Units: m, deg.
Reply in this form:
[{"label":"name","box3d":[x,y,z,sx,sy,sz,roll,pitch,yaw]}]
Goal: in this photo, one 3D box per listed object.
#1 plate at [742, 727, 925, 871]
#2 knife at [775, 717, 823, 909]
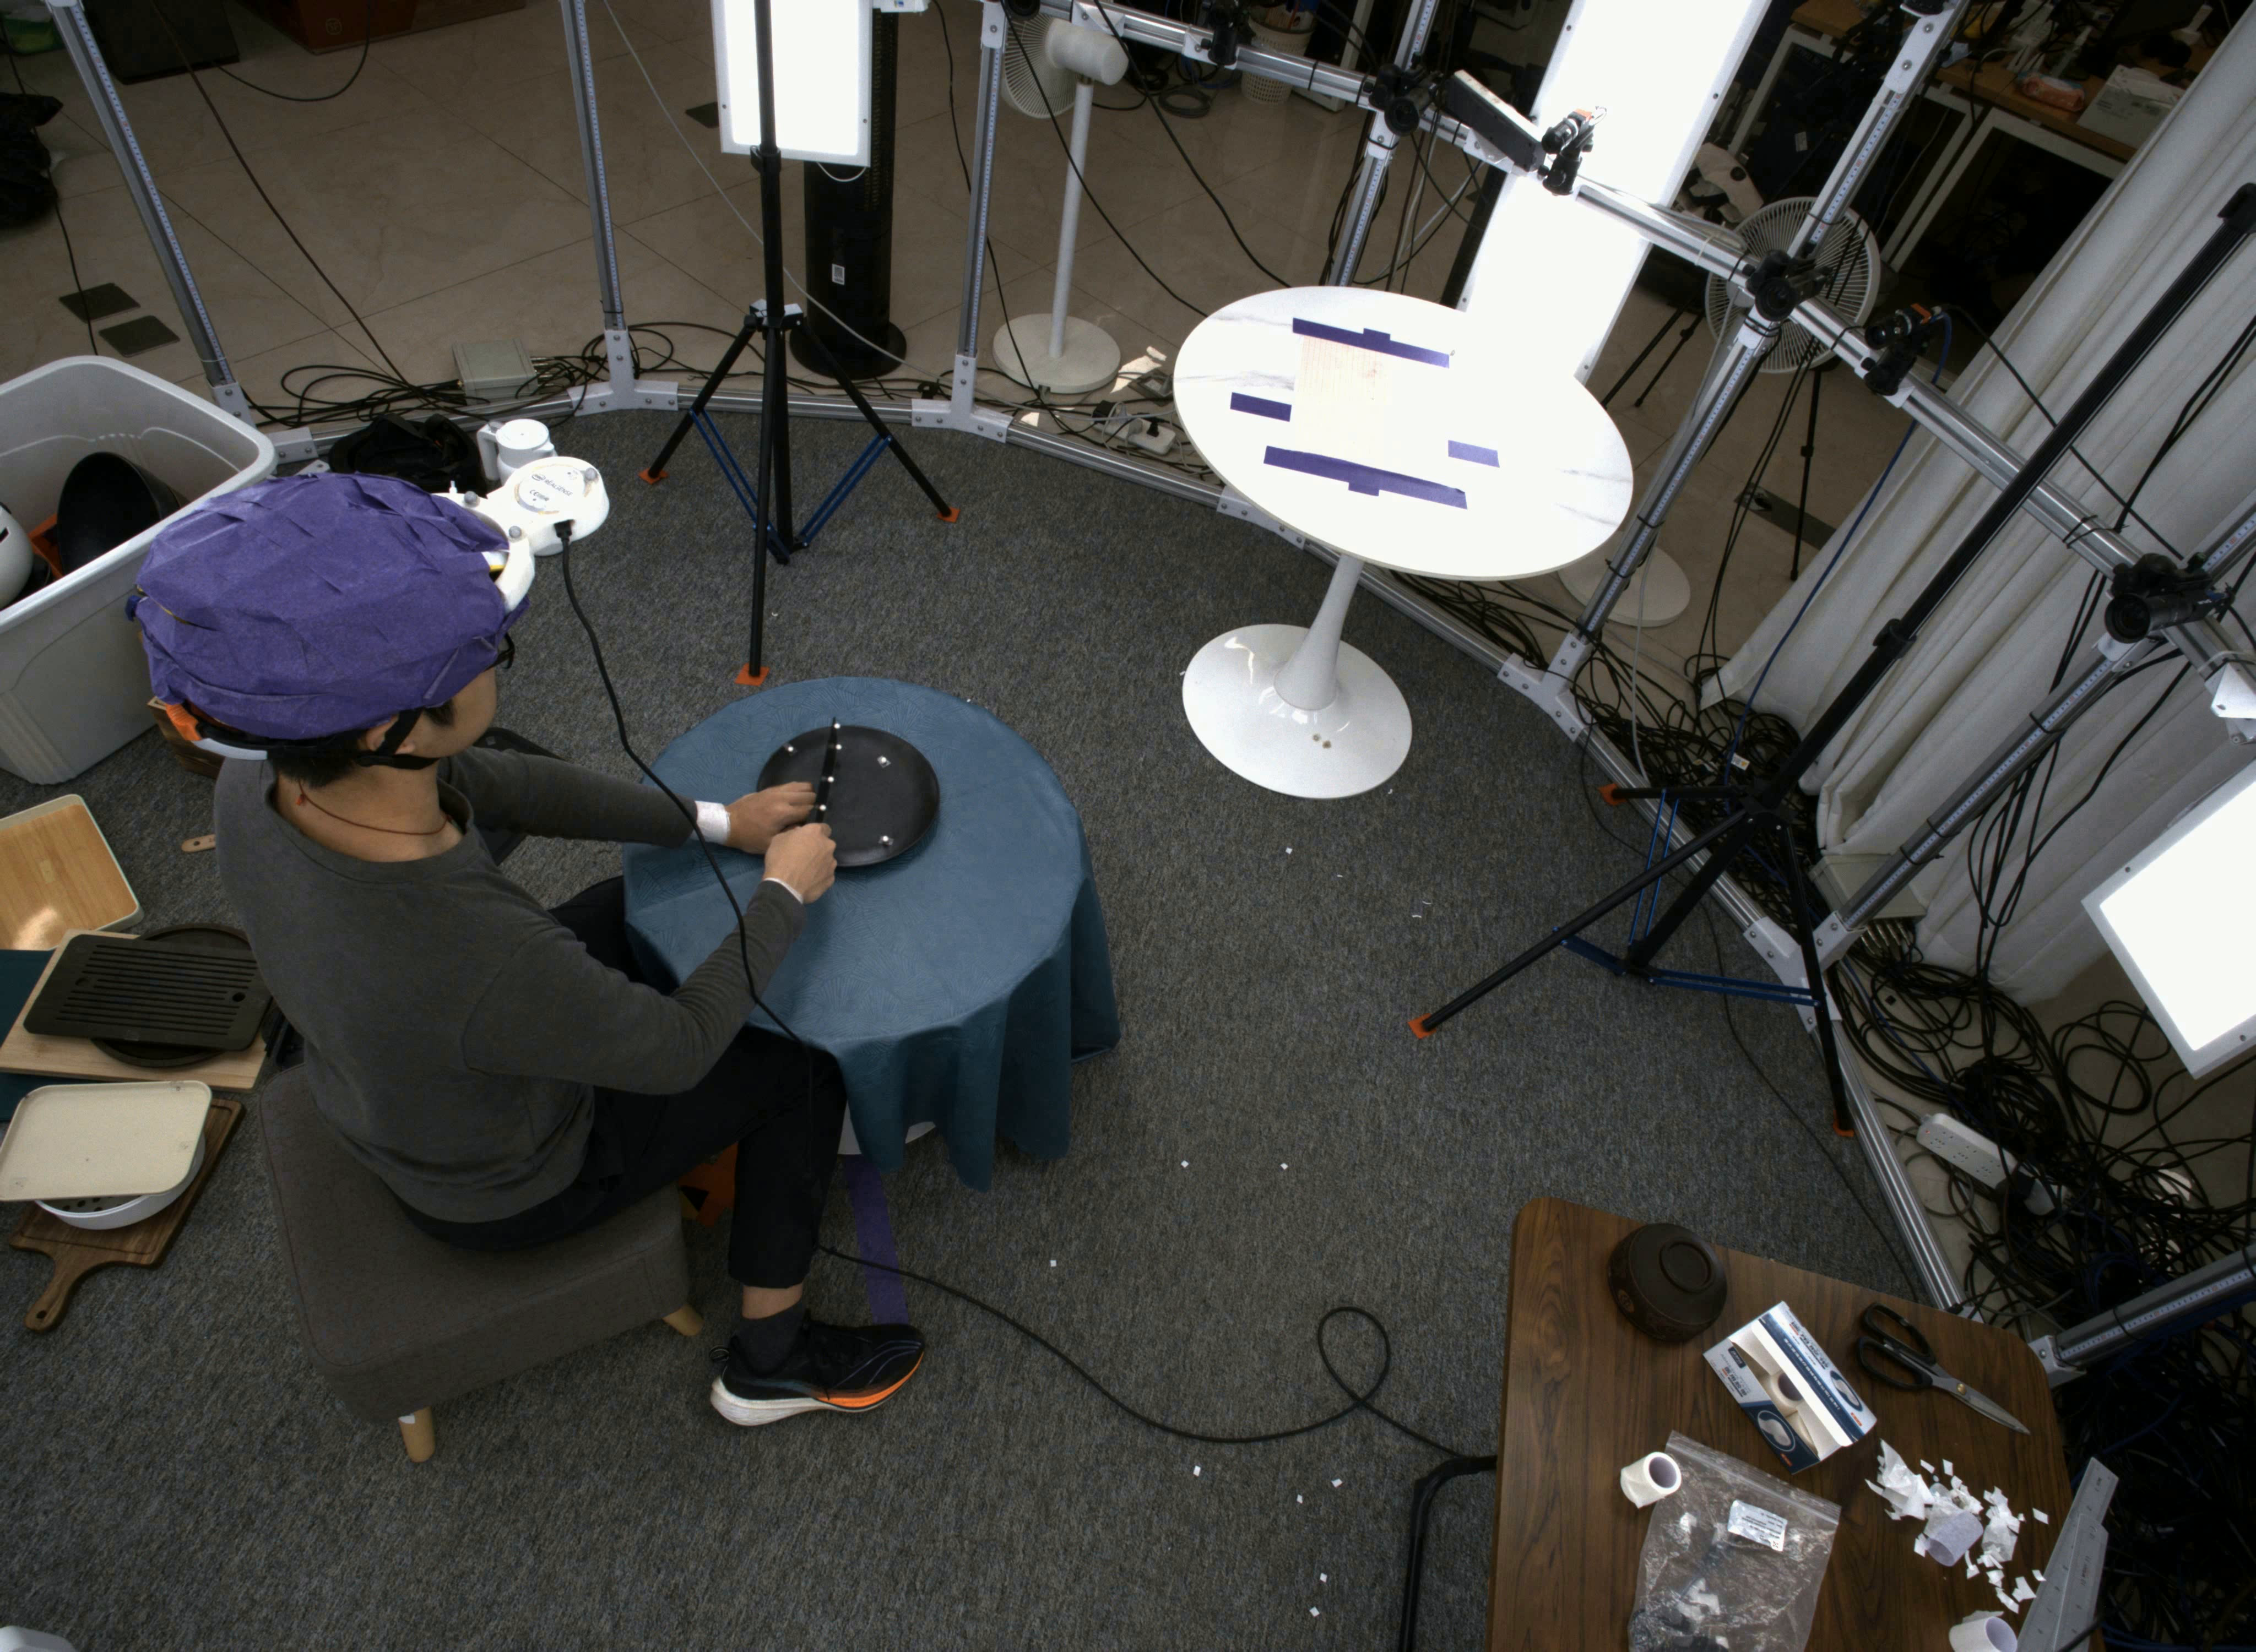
[{"label":"plate","box3d":[-0.396,-0.036,1.755,0.244,0.024,0.240,8,53,-8]},{"label":"knife","box3d":[-0.420,-0.017,1.673,0.021,0.083,0.296,3,46,-4]}]
